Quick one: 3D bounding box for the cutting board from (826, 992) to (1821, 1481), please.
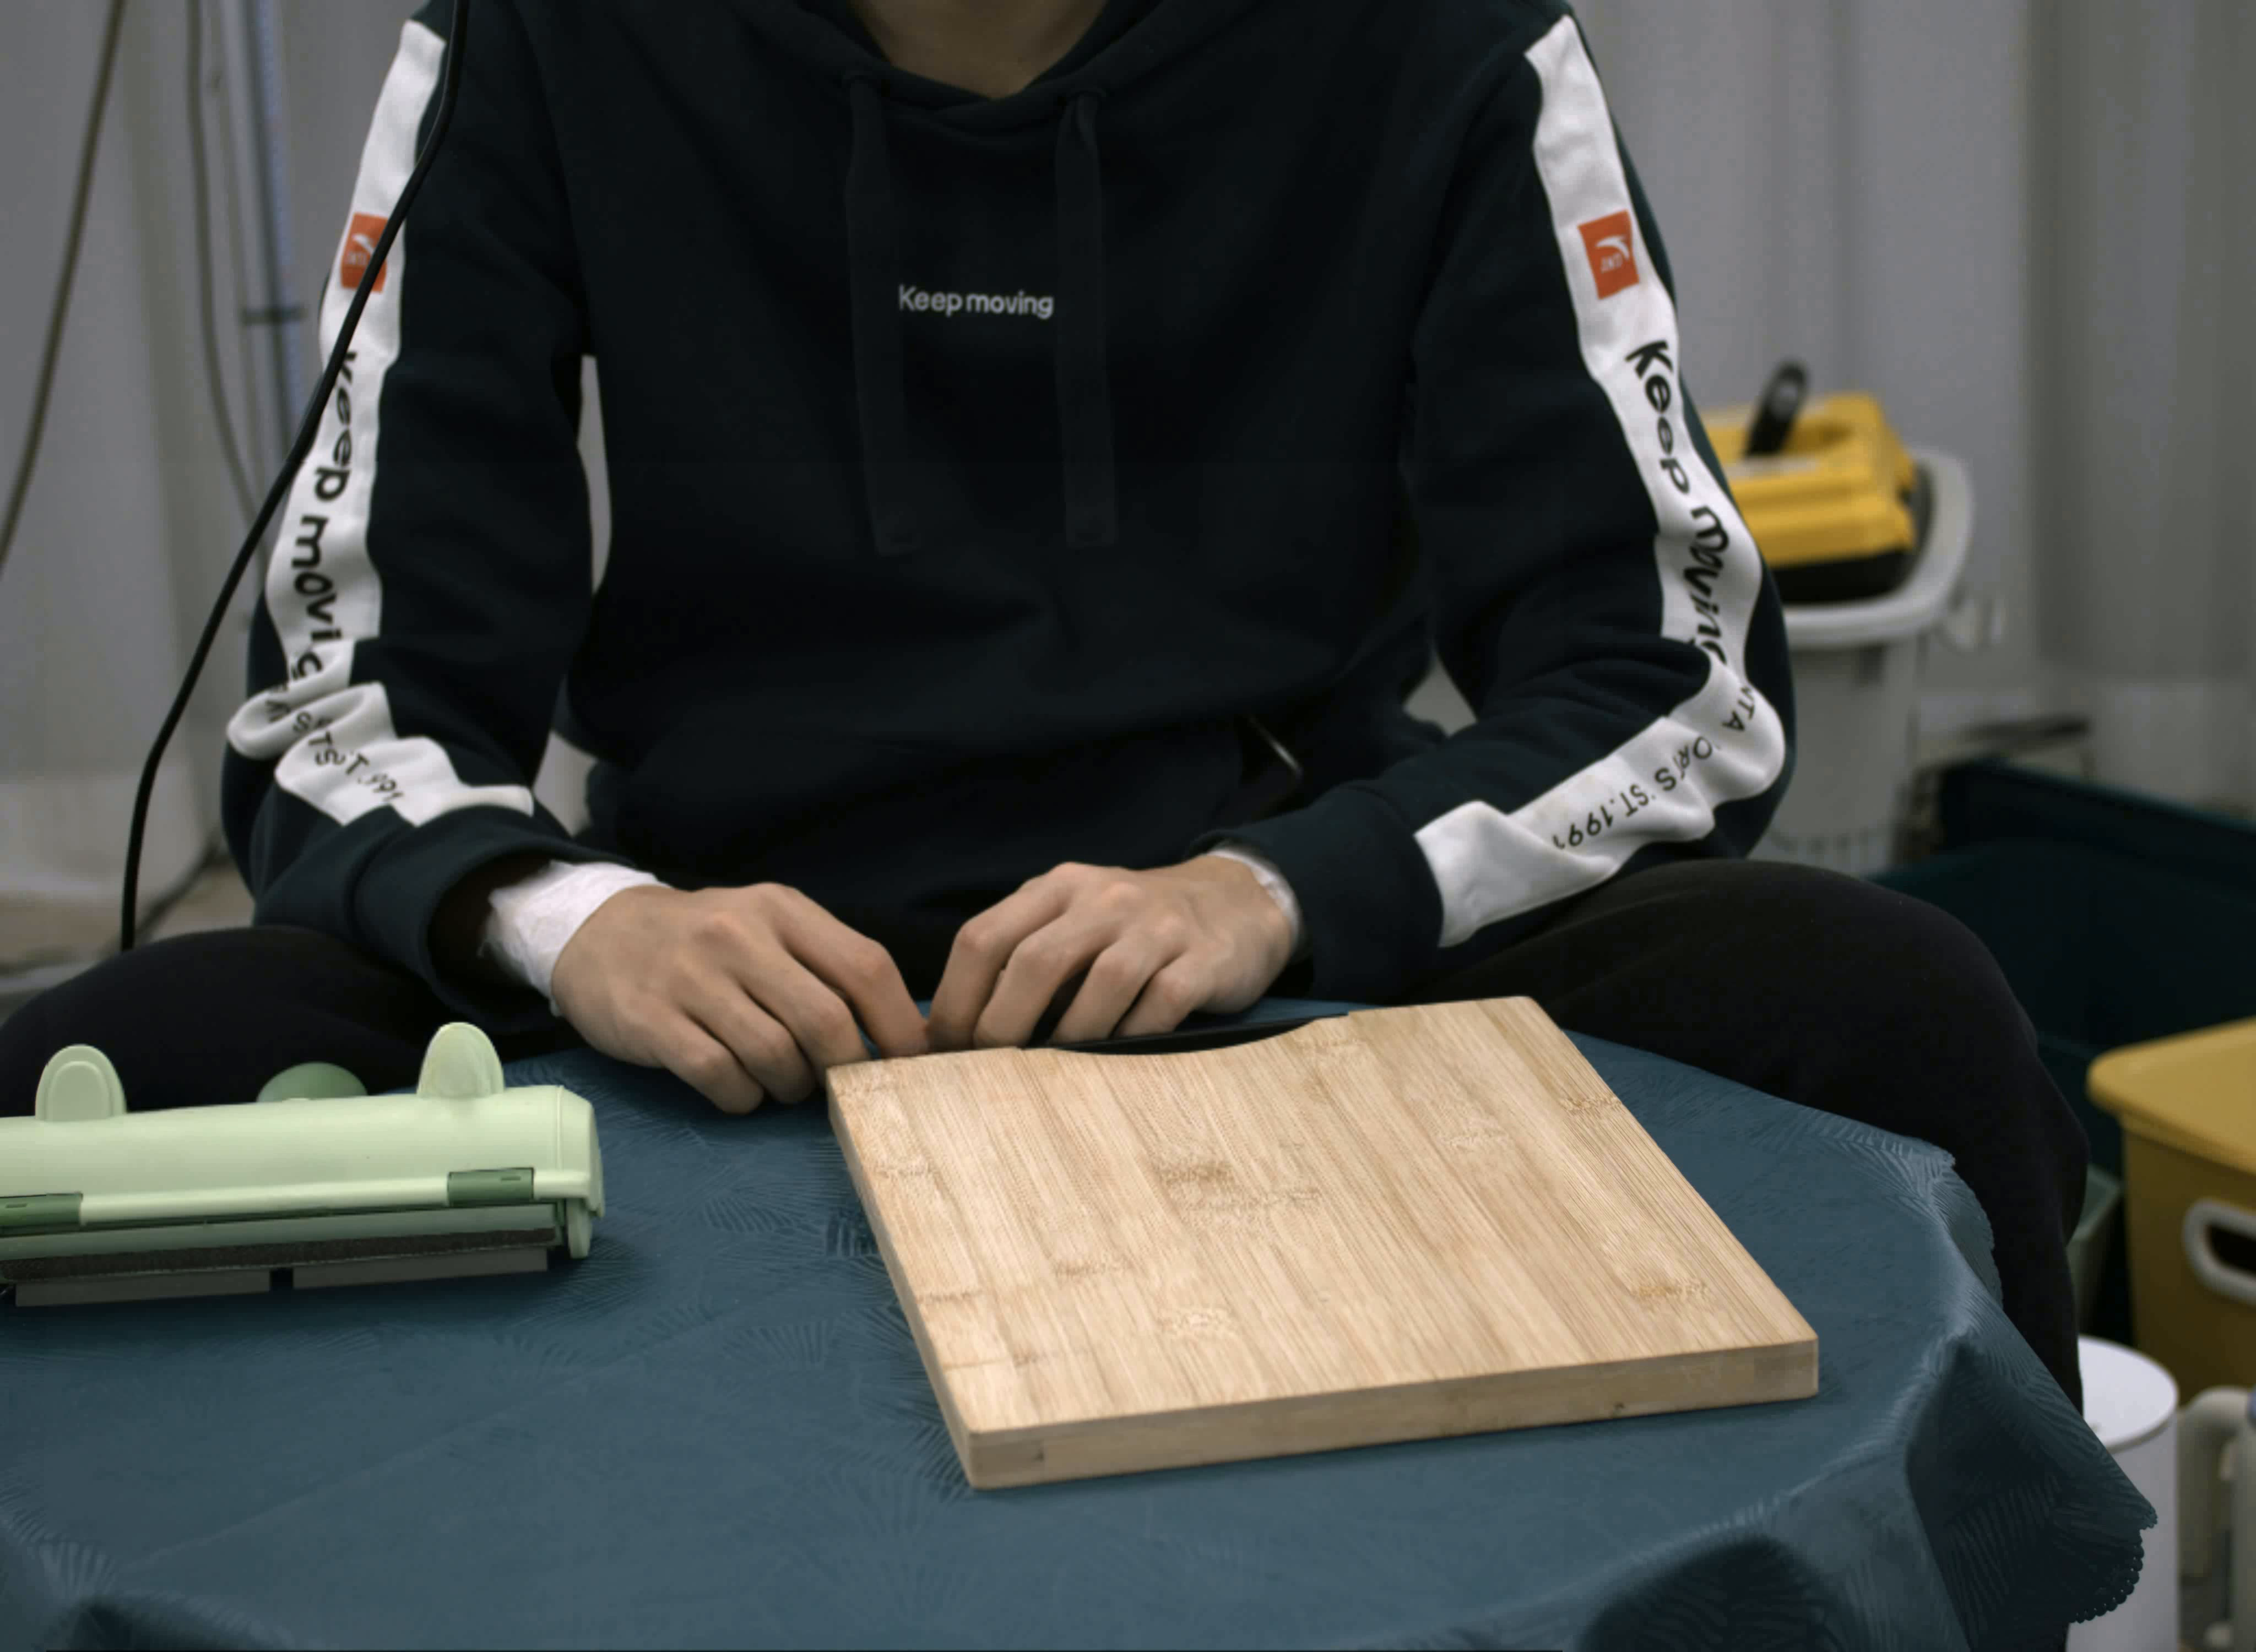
[{"bbox_3d":[0.046,0.119,1.659,0.249,0.023,0.351,-5,15,-9],"label":"cutting board"}]

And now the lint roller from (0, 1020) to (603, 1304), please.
[{"bbox_3d":[-0.263,0.087,1.722,0.198,0.082,0.185,-4,19,-2],"label":"lint roller"}]
